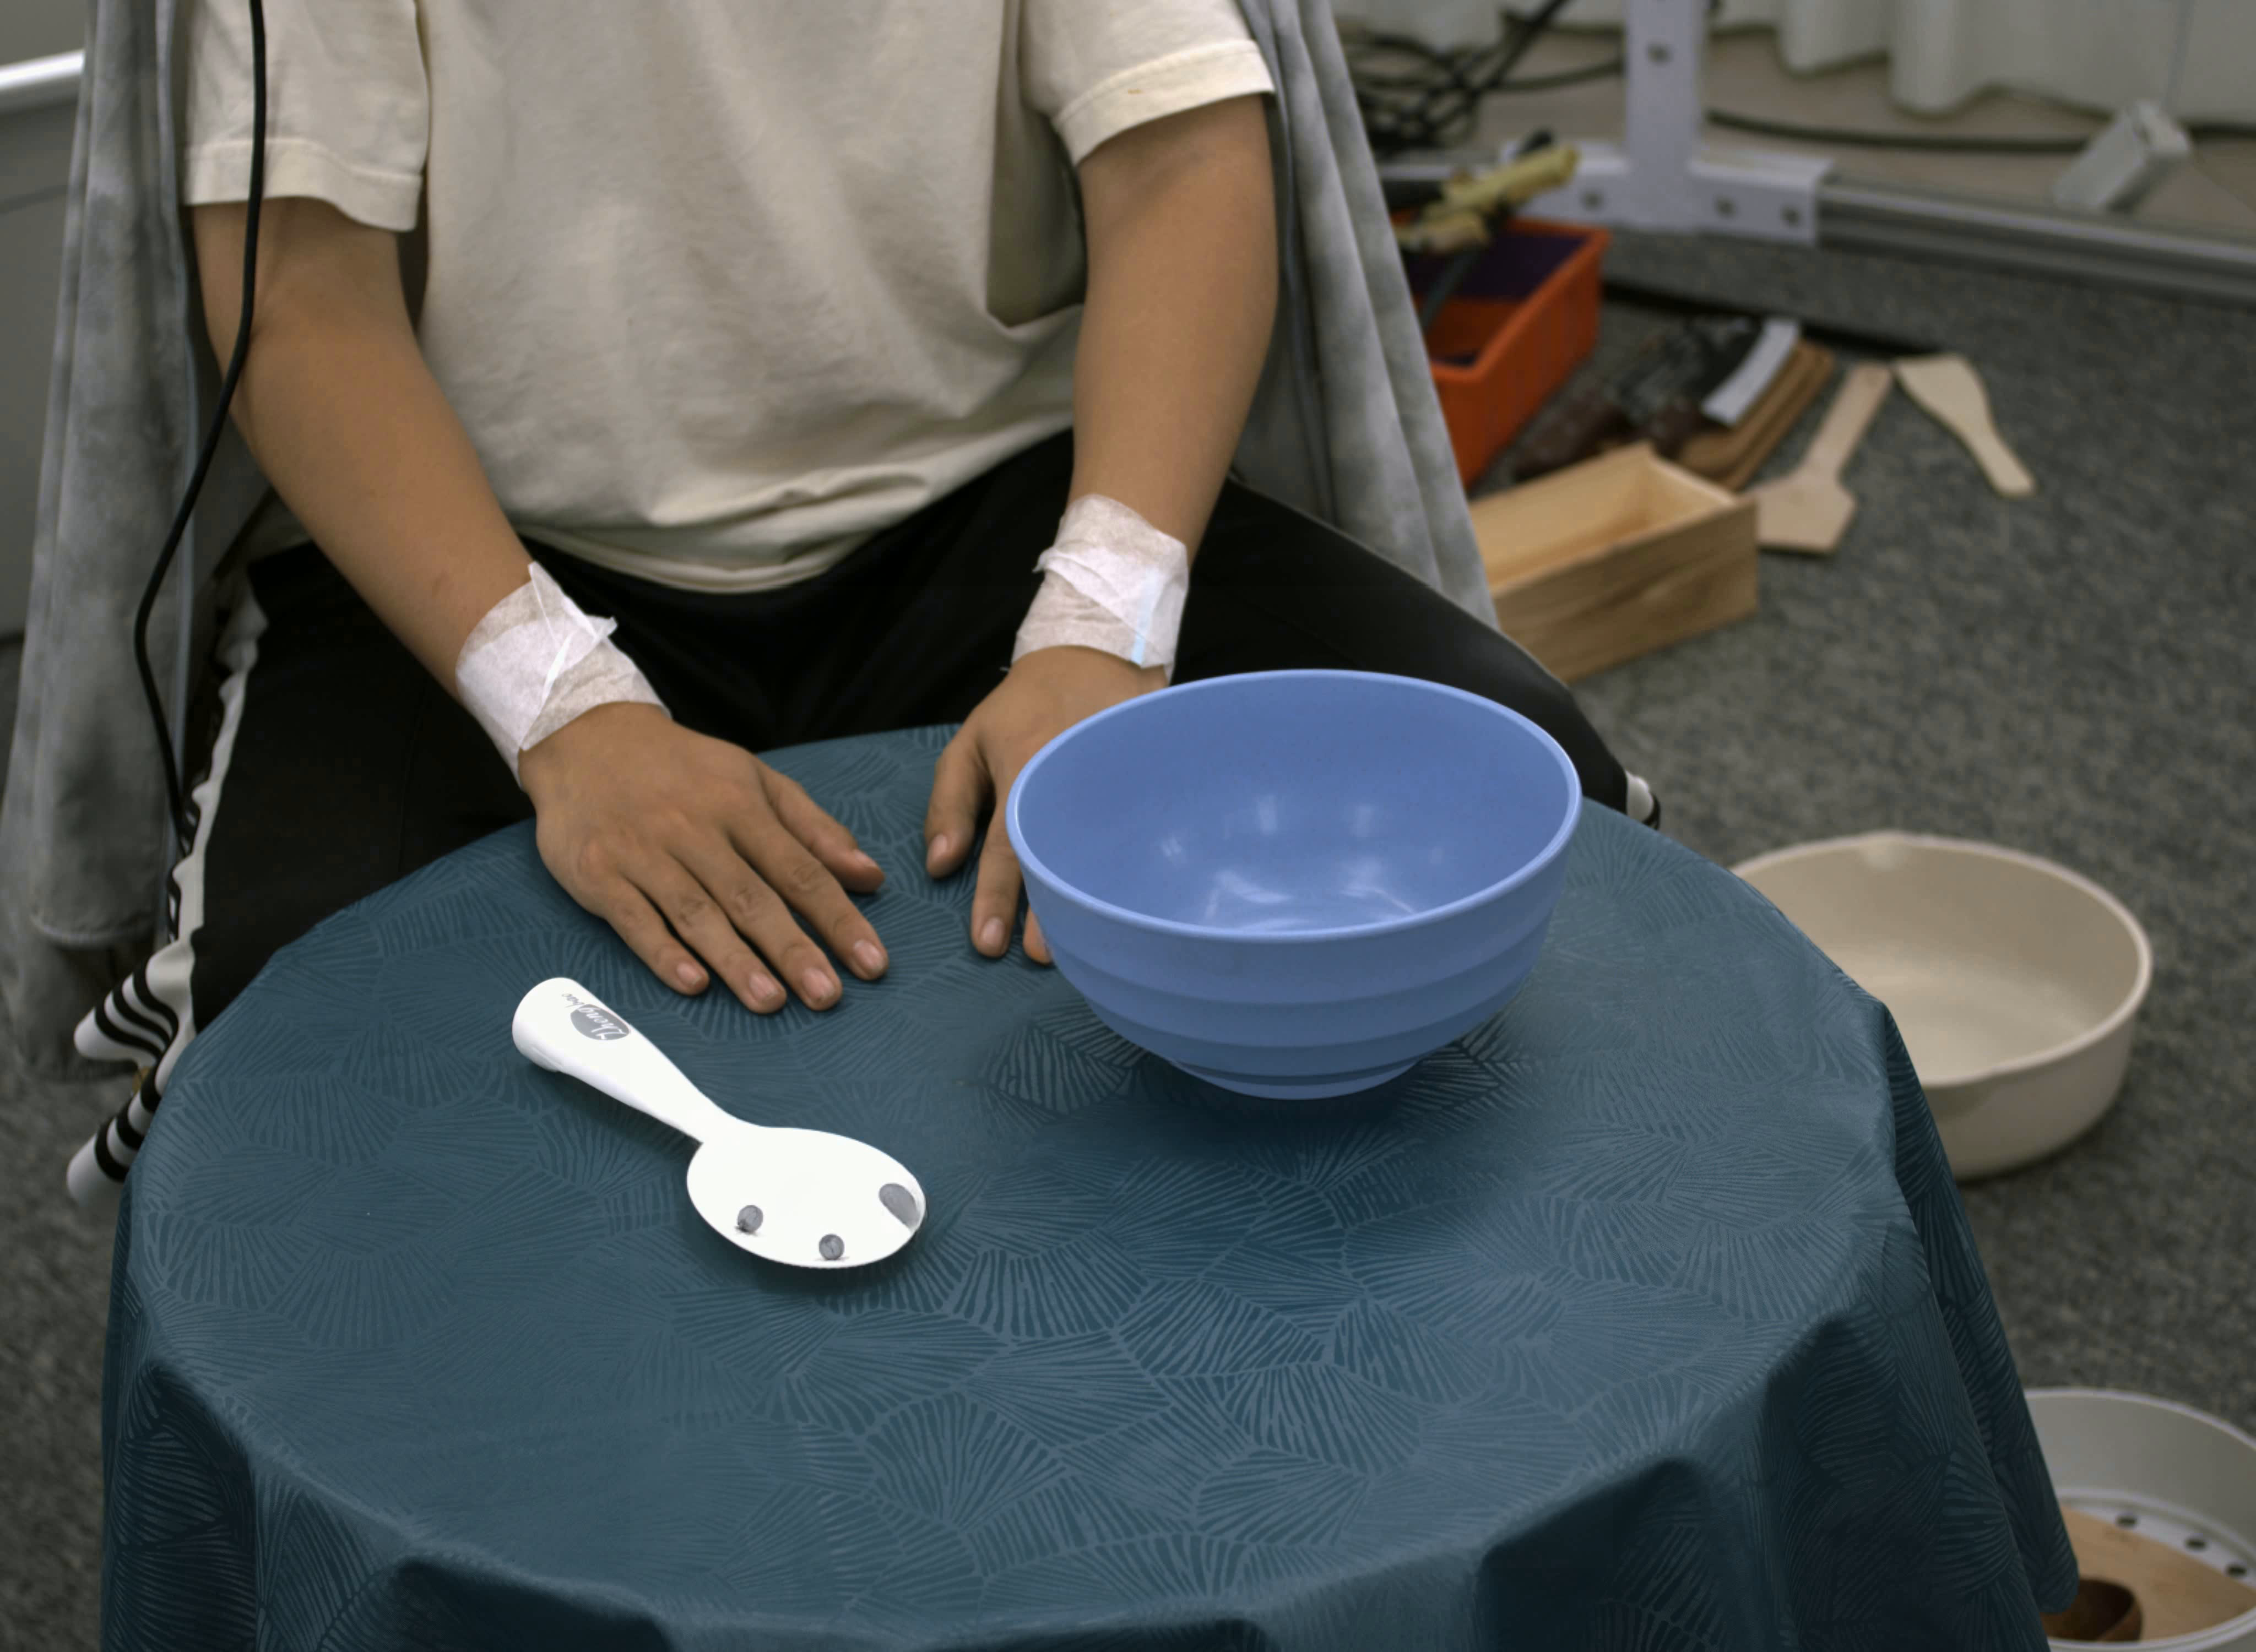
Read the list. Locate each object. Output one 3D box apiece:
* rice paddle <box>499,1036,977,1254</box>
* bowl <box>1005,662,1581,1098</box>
[{"bbox_3d":[-0.131,0.109,1.875,0.204,0.029,0.069,17,20,40],"label":"rice paddle"},{"bbox_3d":[0.058,0.029,1.928,0.195,0.094,0.199,-3,28,2],"label":"bowl"}]
